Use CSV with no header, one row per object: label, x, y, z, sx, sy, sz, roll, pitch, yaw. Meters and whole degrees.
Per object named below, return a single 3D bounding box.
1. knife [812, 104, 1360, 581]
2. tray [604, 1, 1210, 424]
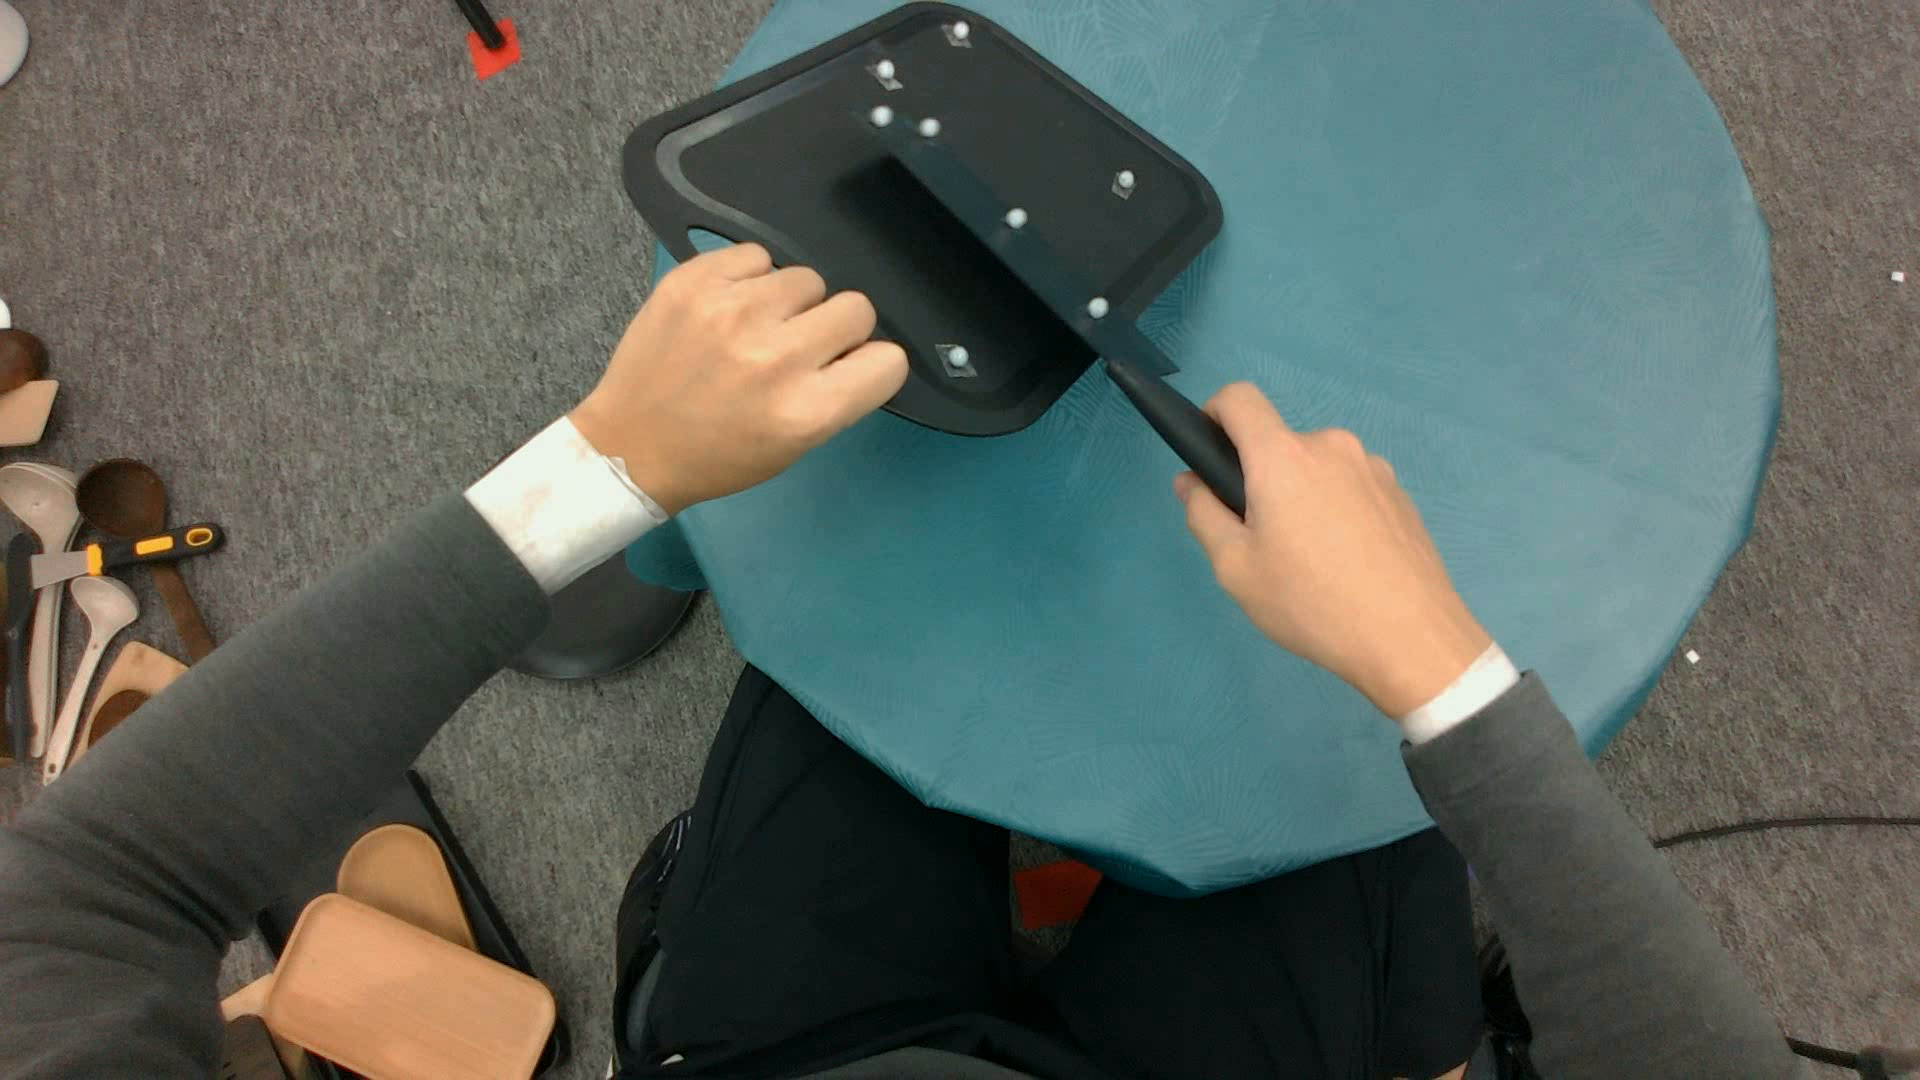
knife,0.052,-0.092,0.585,0.302,0.081,0.021,46,119,16
tray,-0.010,-0.168,0.647,0.211,0.010,0.327,37,44,6
